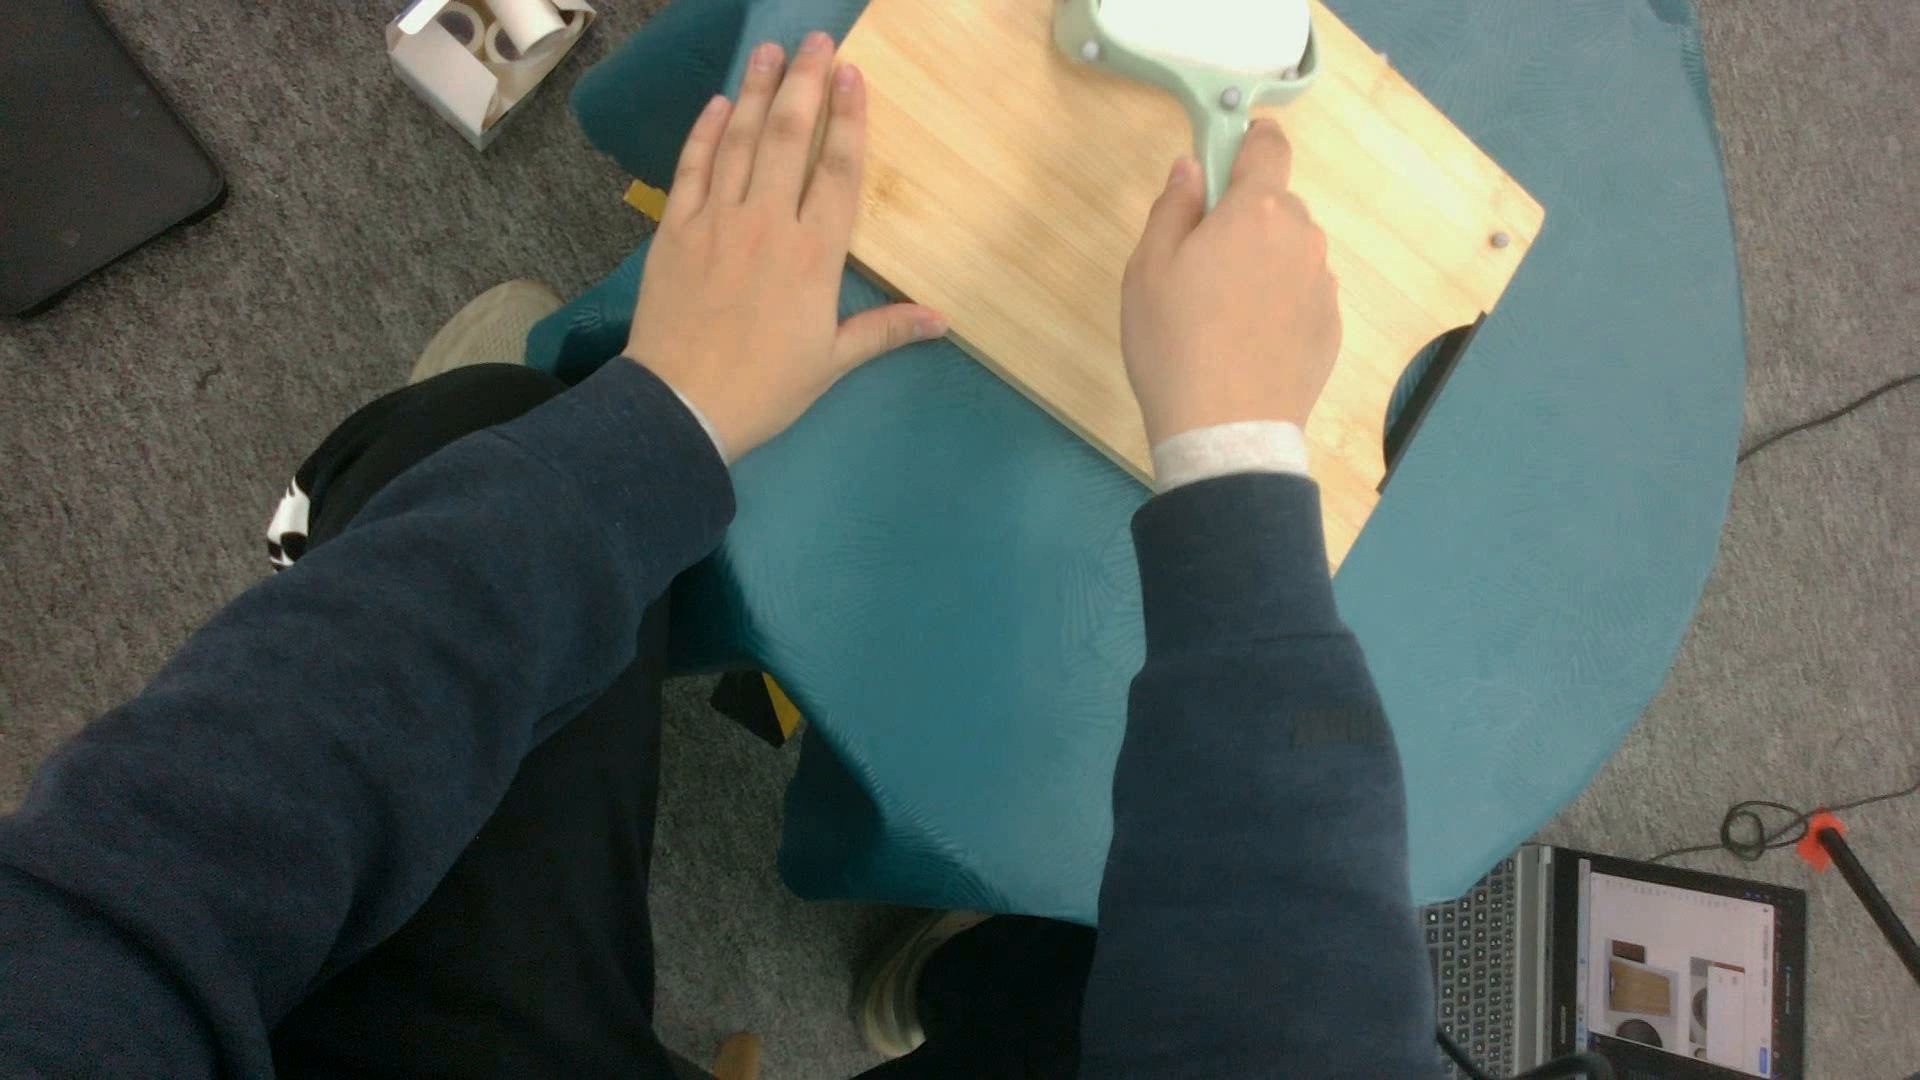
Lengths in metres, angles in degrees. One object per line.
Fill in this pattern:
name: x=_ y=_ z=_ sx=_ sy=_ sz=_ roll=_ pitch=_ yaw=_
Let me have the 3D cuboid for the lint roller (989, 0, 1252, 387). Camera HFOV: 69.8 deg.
lint roller: x=0.081 y=-0.161 z=0.605 sx=0.117 sy=0.048 sz=0.198 roll=2 pitch=64 yaw=-20

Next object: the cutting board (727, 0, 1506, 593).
cutting board: x=0.093 y=-0.163 z=0.678 sx=0.348 sy=0.023 sz=0.251 roll=30 pitch=81 yaw=-16
